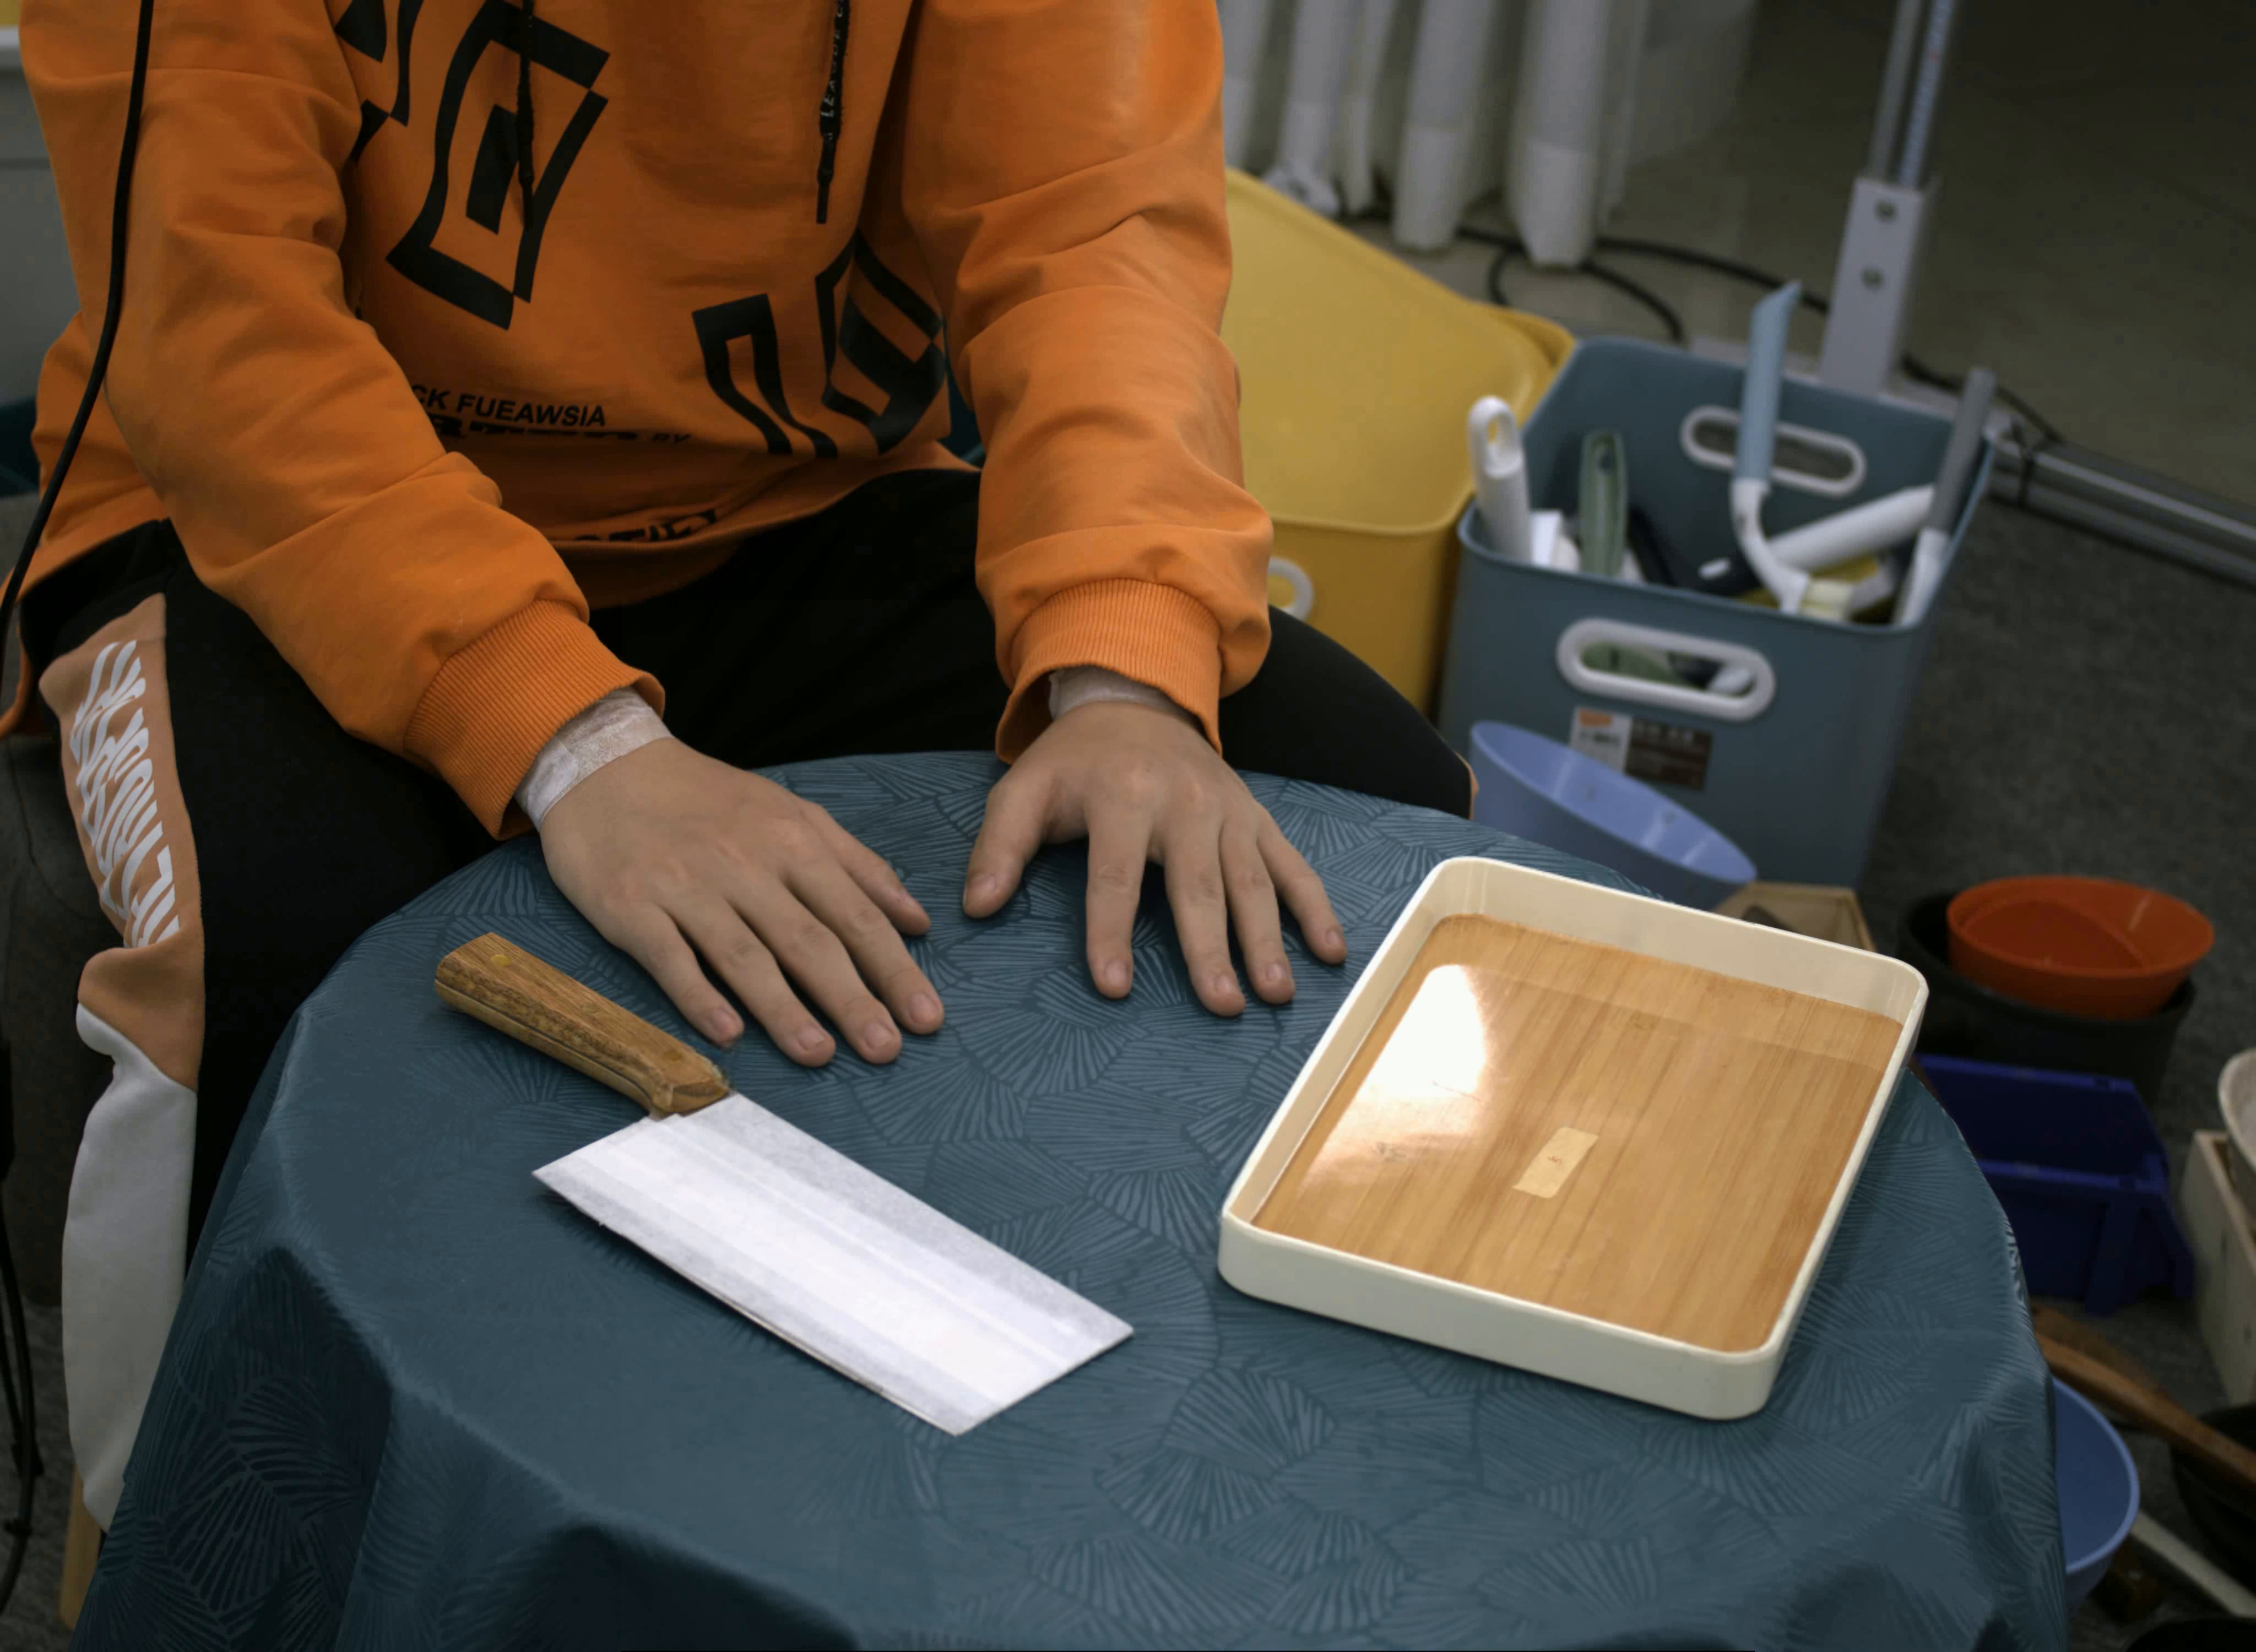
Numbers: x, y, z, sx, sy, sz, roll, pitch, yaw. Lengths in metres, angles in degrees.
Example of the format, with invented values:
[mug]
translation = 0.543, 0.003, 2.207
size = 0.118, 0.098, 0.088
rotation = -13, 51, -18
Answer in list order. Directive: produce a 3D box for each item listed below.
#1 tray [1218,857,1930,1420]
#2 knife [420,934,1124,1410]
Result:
[tray]
translation = 0.161, 0.102, 1.850
size = 0.192, 0.027, 0.300
rotation = 14, 28, 14
[knife]
translation = -0.140, 0.116, 1.770
size = 0.308, 0.021, 0.092
rotation = 28, 35, 32
